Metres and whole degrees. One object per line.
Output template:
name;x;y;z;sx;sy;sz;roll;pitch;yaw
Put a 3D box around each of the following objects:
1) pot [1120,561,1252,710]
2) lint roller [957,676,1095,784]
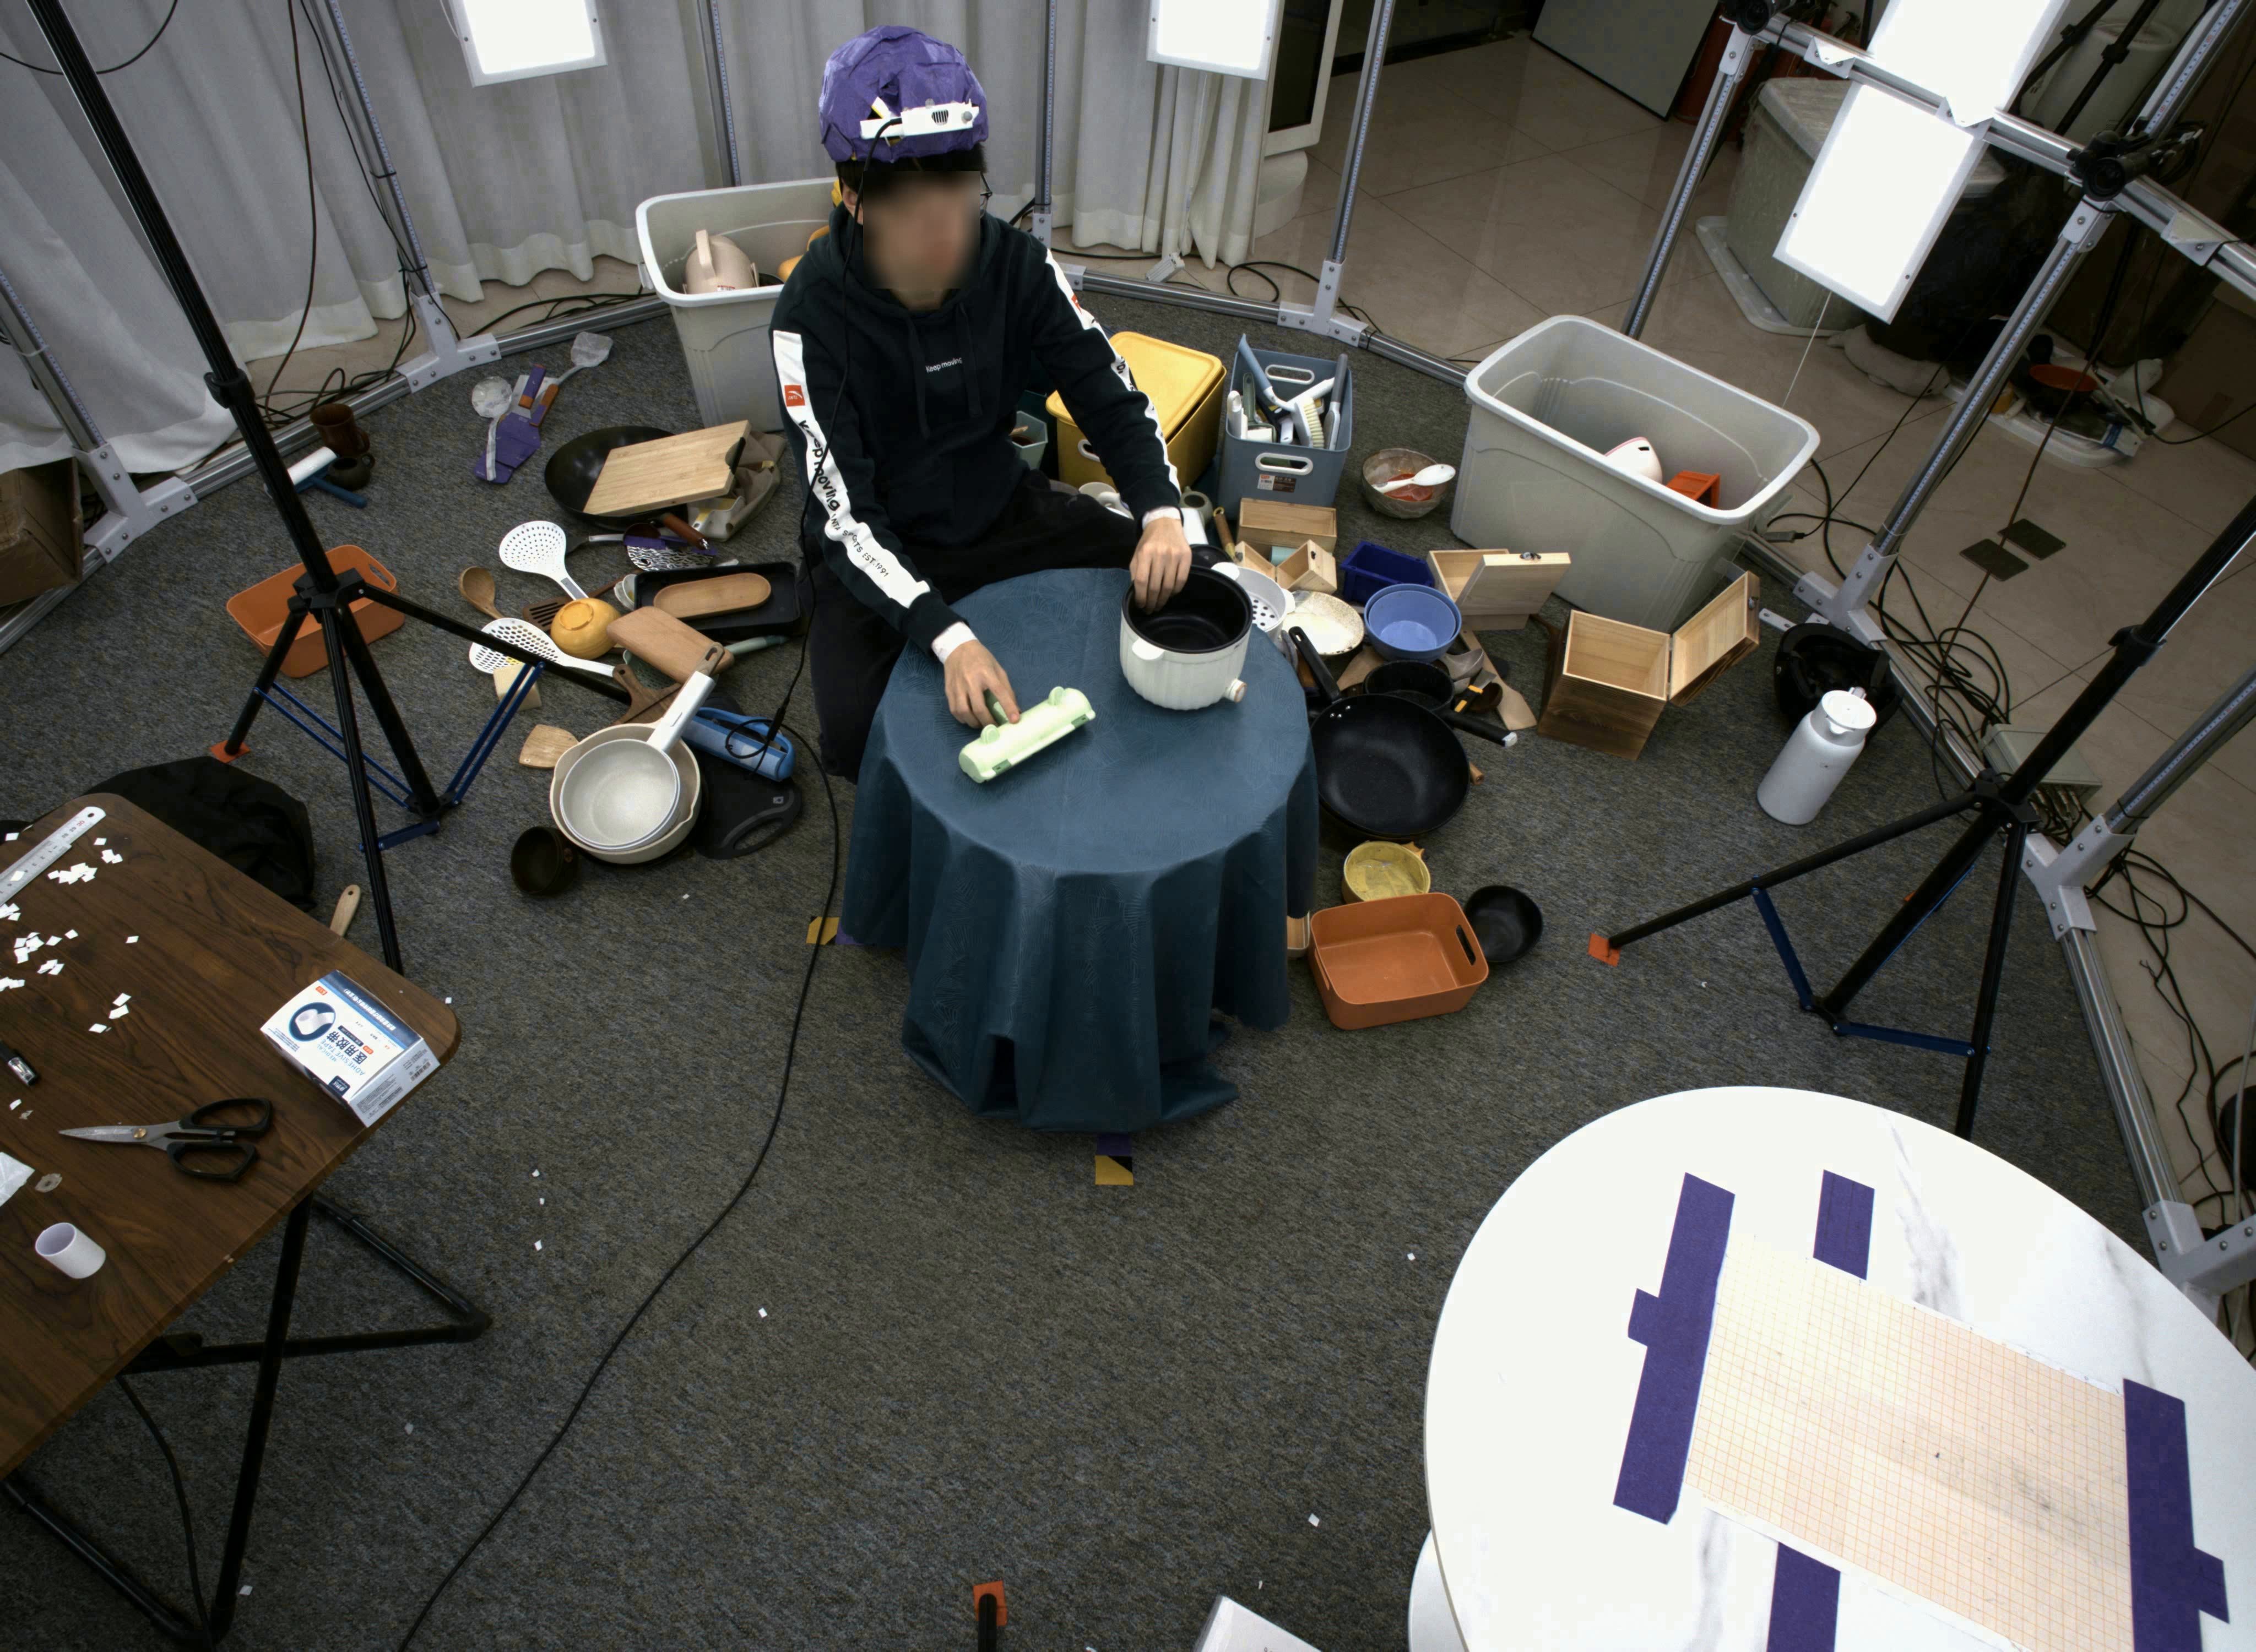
pot;0.083;-0.258;1.808;0.192;0.139;0.244;26;54;22
lint roller;-0.173;-0.164;1.750;0.200;0.080;0.186;-32;64;-27
